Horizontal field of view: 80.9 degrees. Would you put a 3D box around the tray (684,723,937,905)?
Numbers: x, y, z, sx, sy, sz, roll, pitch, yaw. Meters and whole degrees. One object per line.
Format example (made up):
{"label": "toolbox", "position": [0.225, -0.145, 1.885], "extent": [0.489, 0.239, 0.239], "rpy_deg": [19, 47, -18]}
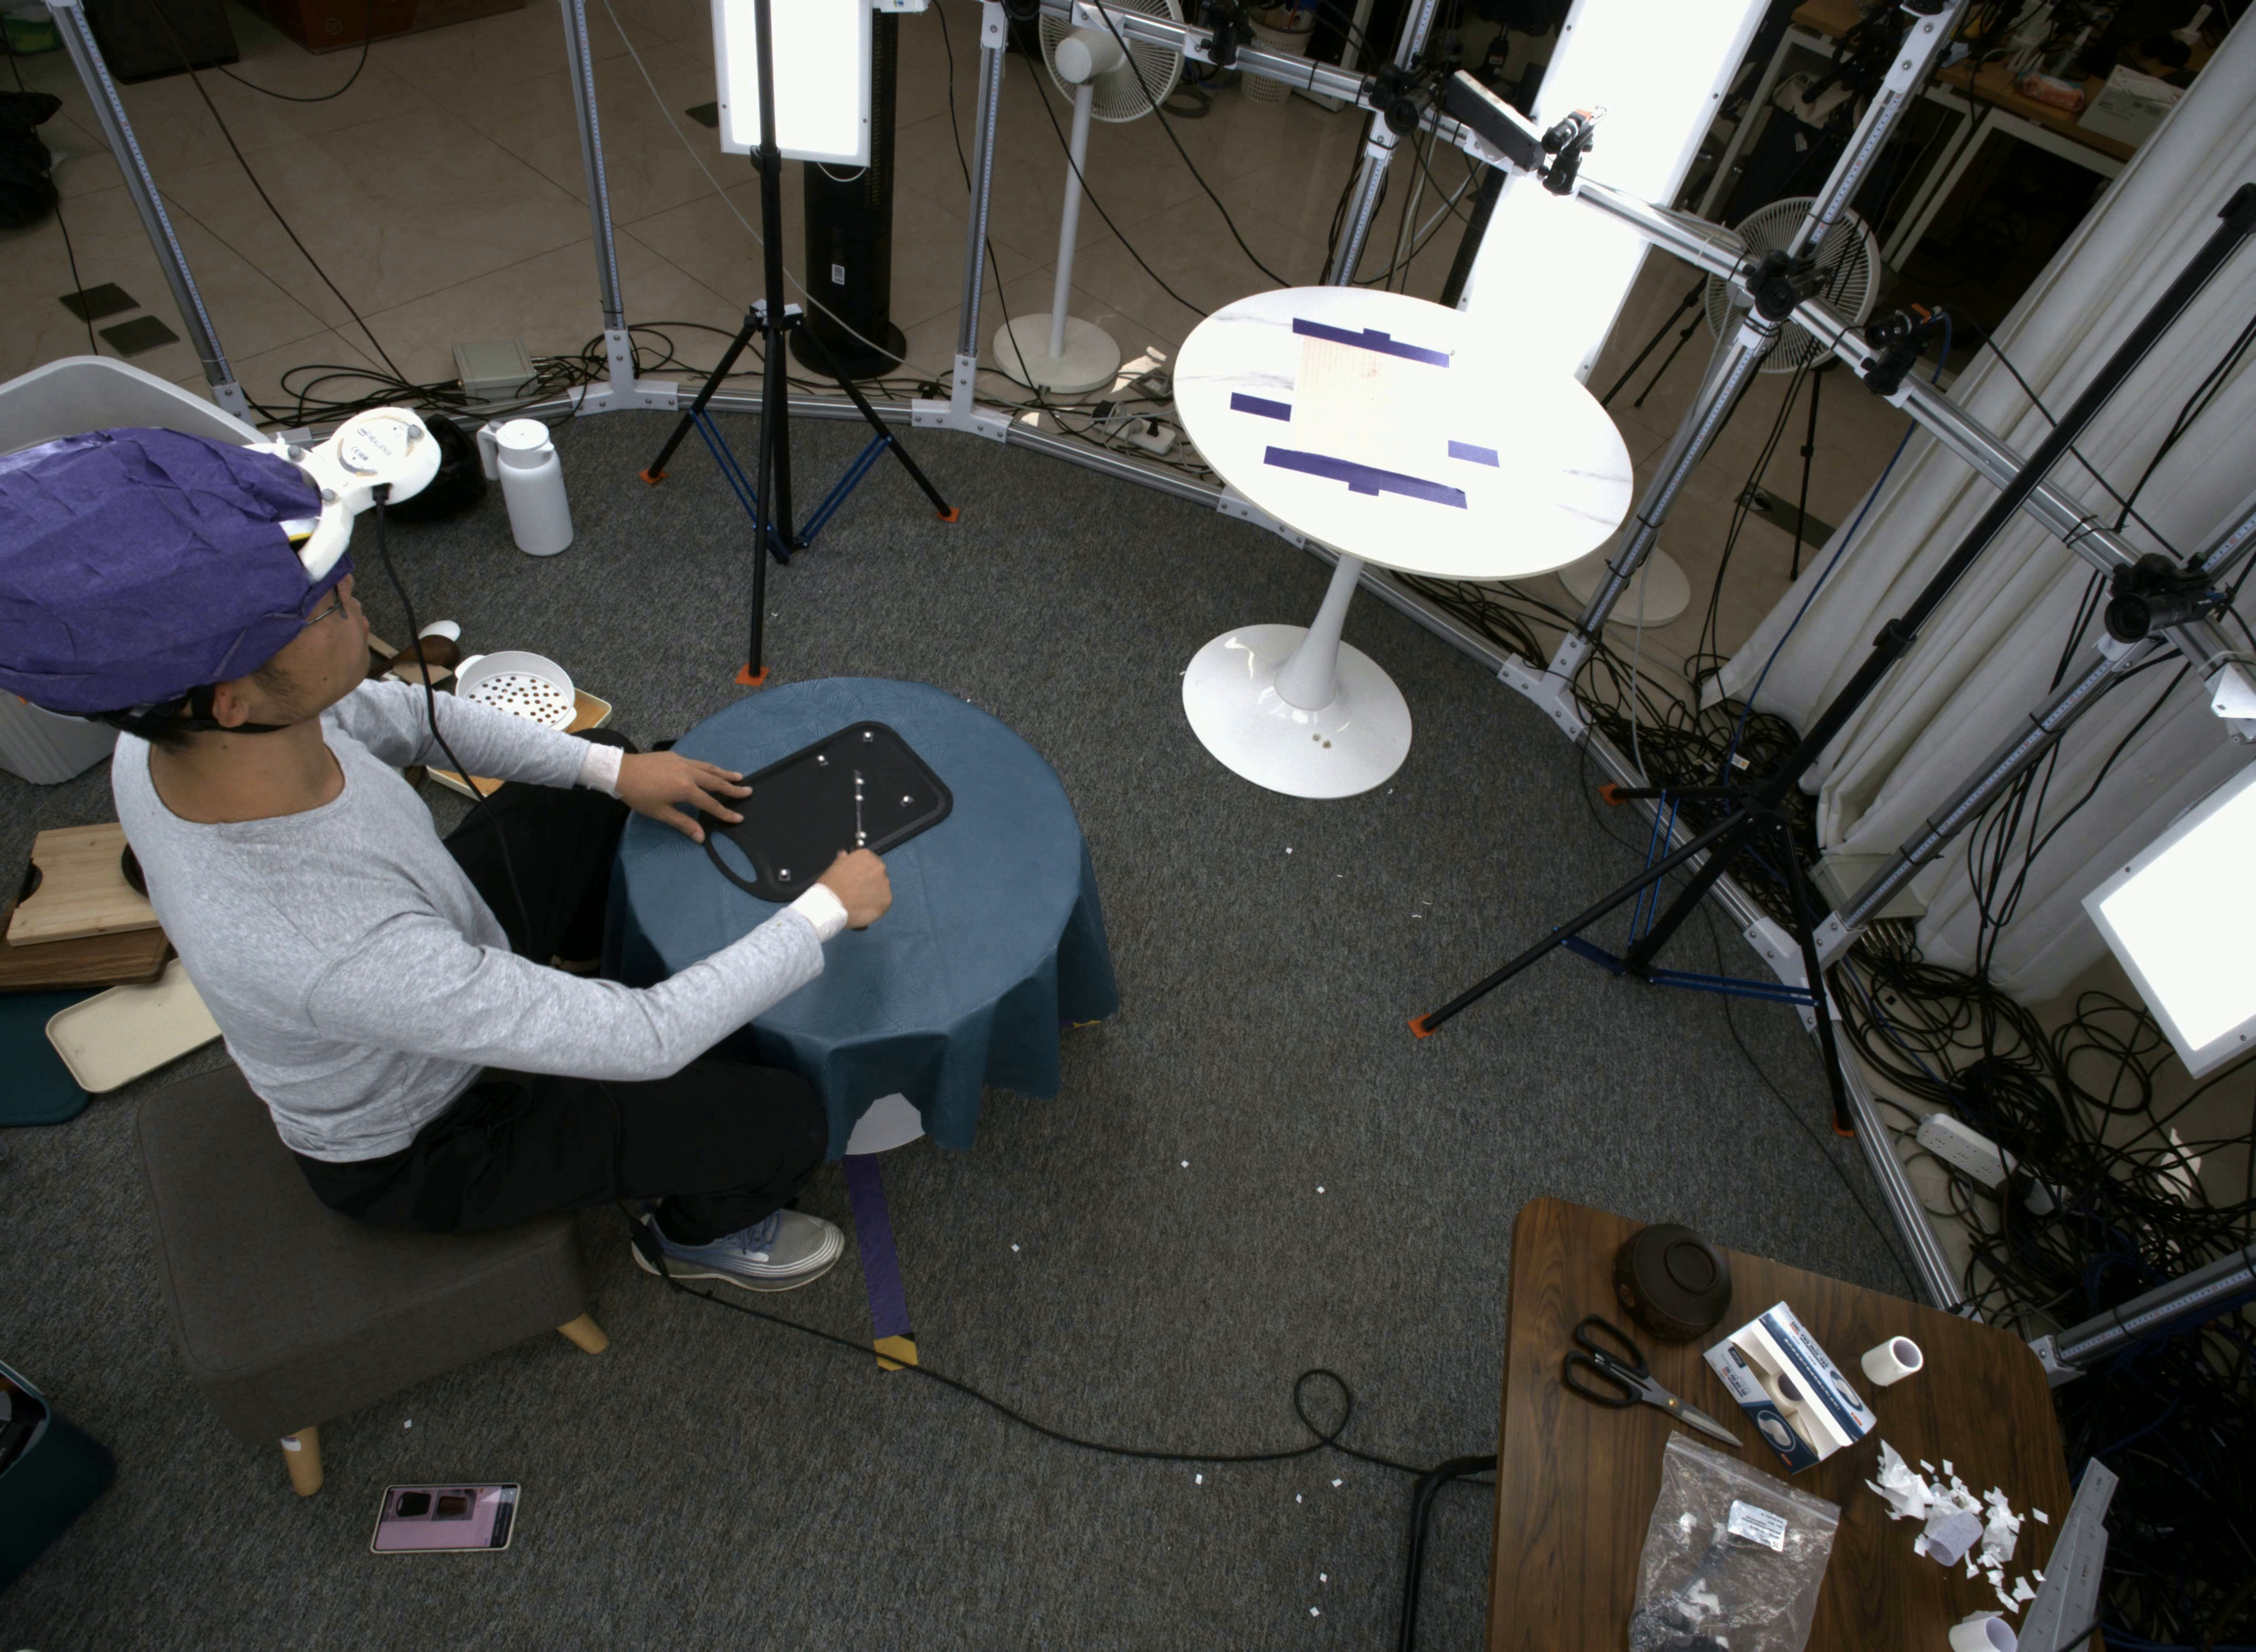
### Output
{"label": "tray", "position": [-0.430, -0.021, 1.745], "extent": [0.326, 0.010, 0.206], "rpy_deg": [-32, 67, -31]}

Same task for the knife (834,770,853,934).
{"label": "knife", "position": [-0.352, 0.025, 1.614], "extent": [0.020, 0.052, 0.281], "rpy_deg": [-5, 45, -7]}
